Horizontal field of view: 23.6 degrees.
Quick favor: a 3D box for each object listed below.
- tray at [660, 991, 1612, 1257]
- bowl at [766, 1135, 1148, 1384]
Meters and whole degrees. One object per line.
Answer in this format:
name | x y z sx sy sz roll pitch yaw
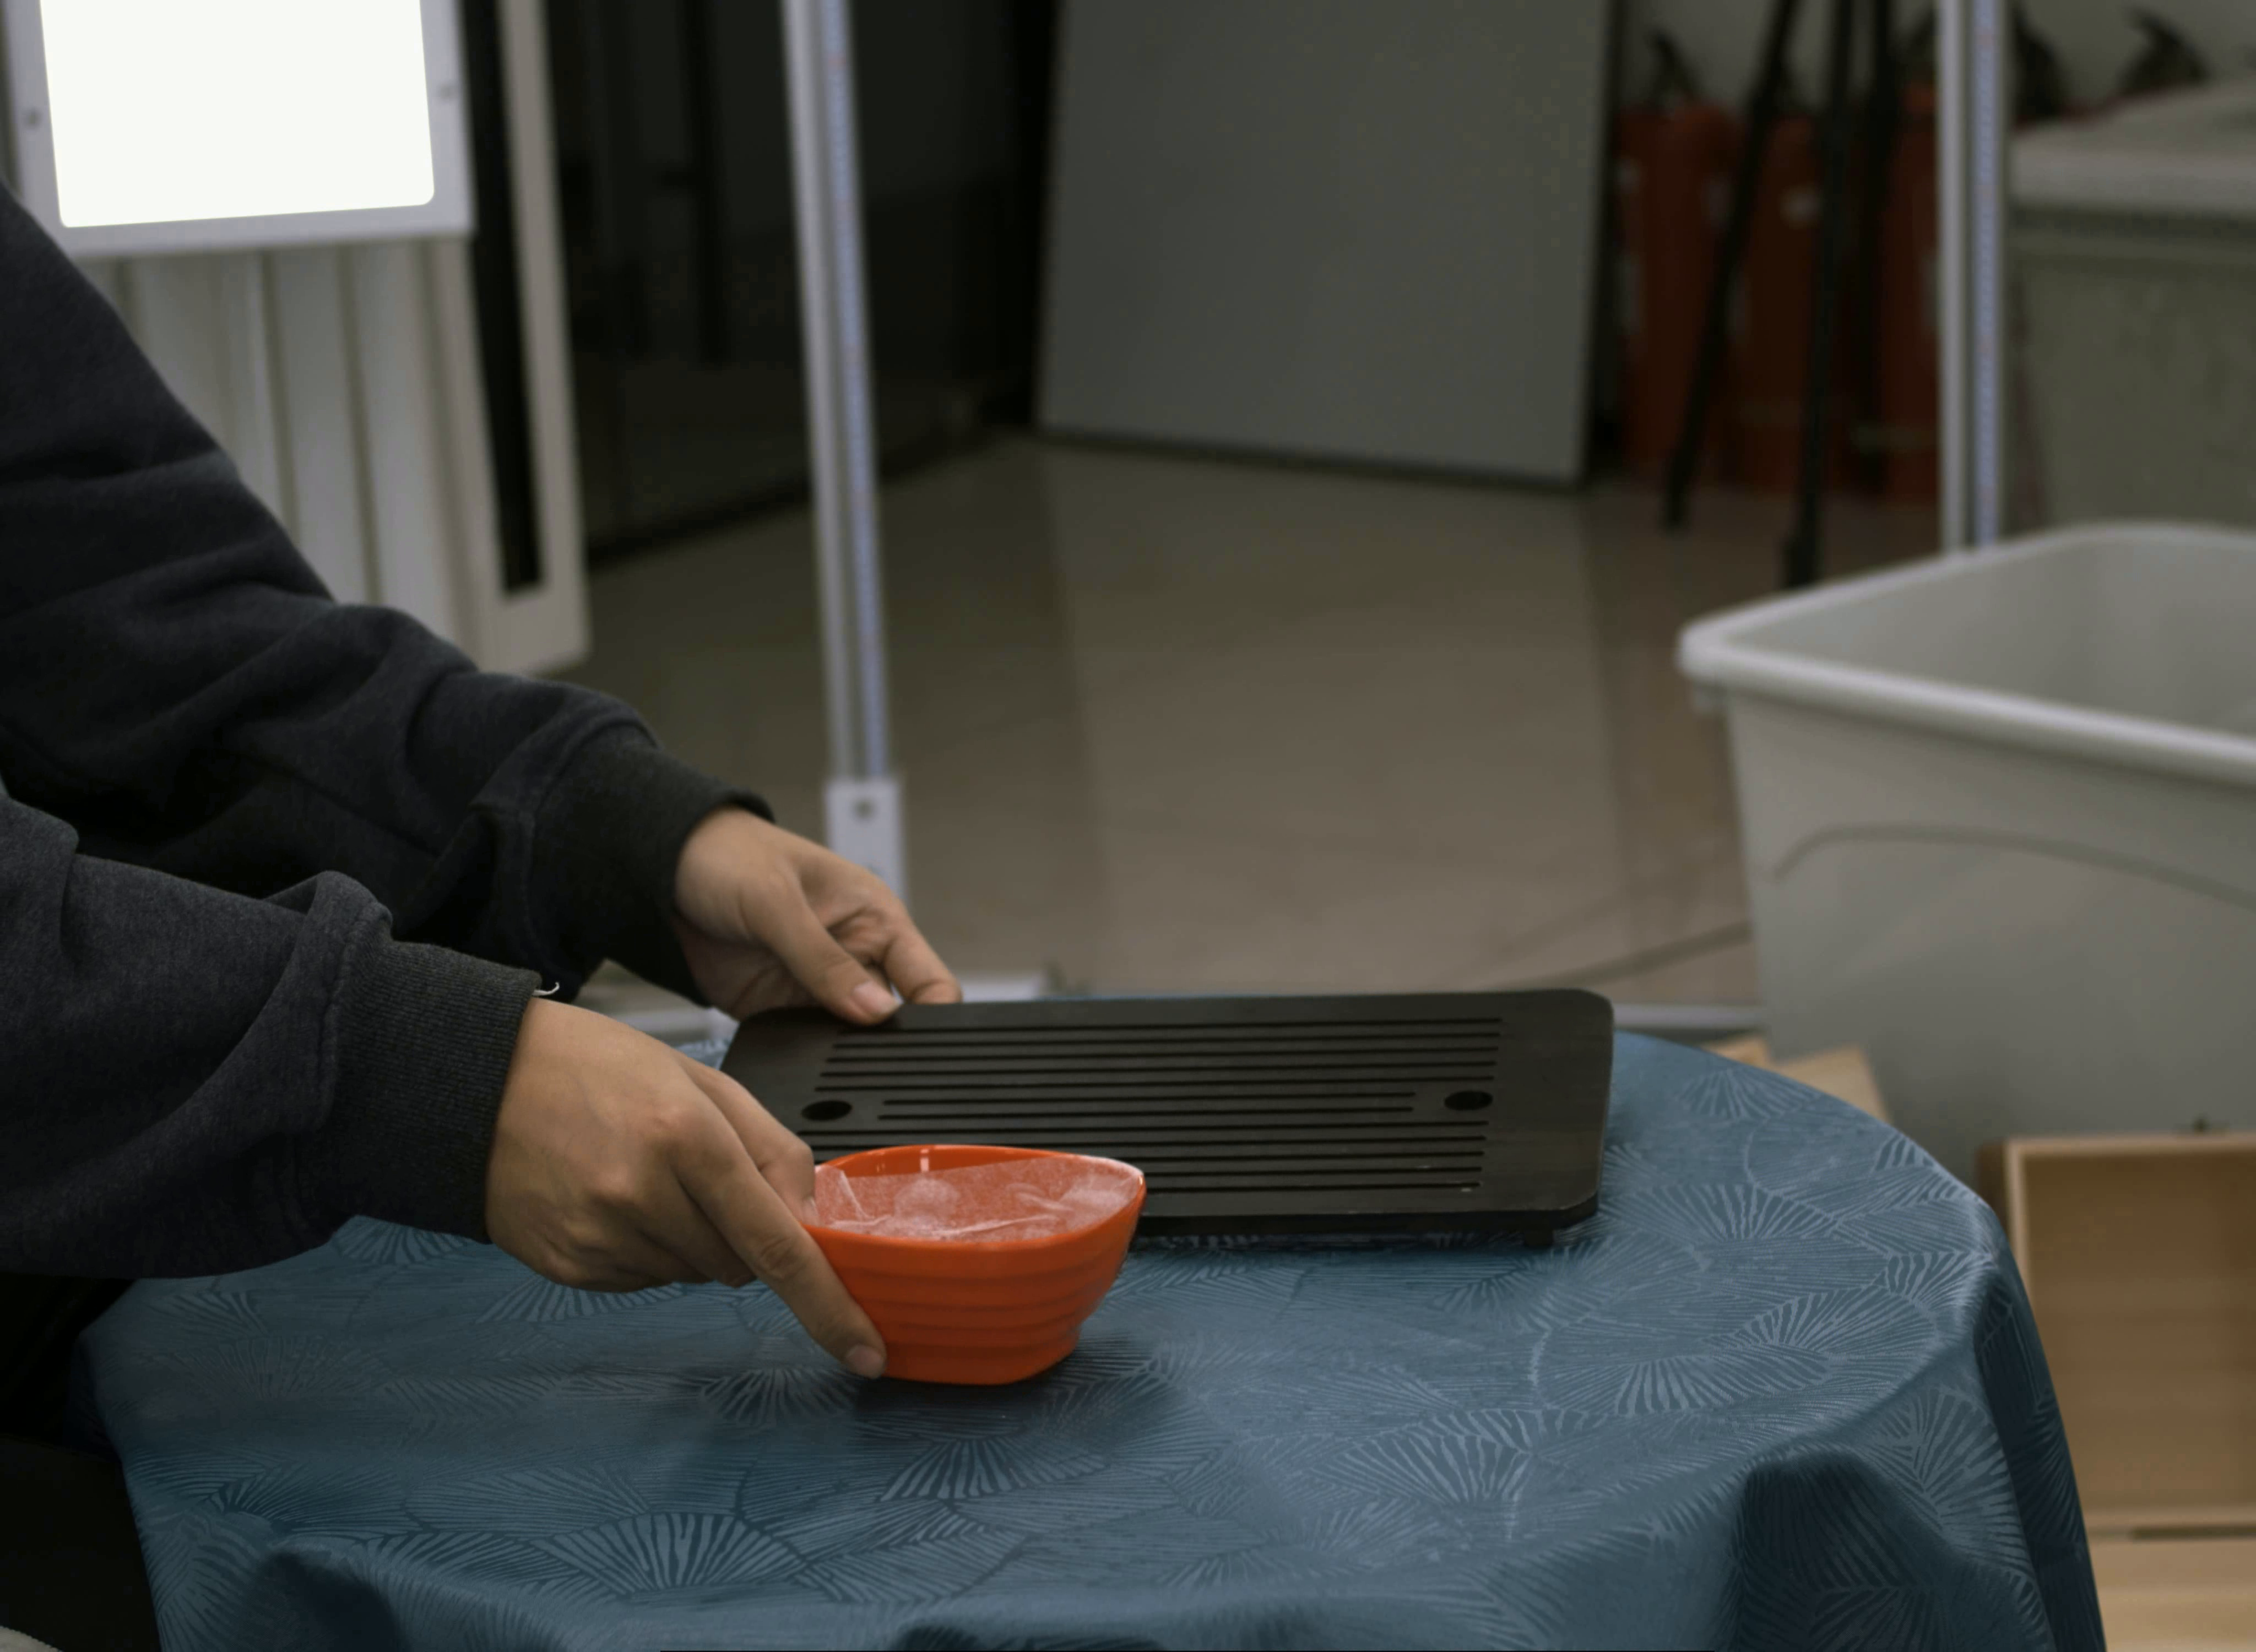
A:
tray | 0.007 0.099 1.779 0.303 0.019 0.170 -2 21 9
bowl | -0.050 0.131 1.608 0.117 0.052 0.119 0 12 -1
